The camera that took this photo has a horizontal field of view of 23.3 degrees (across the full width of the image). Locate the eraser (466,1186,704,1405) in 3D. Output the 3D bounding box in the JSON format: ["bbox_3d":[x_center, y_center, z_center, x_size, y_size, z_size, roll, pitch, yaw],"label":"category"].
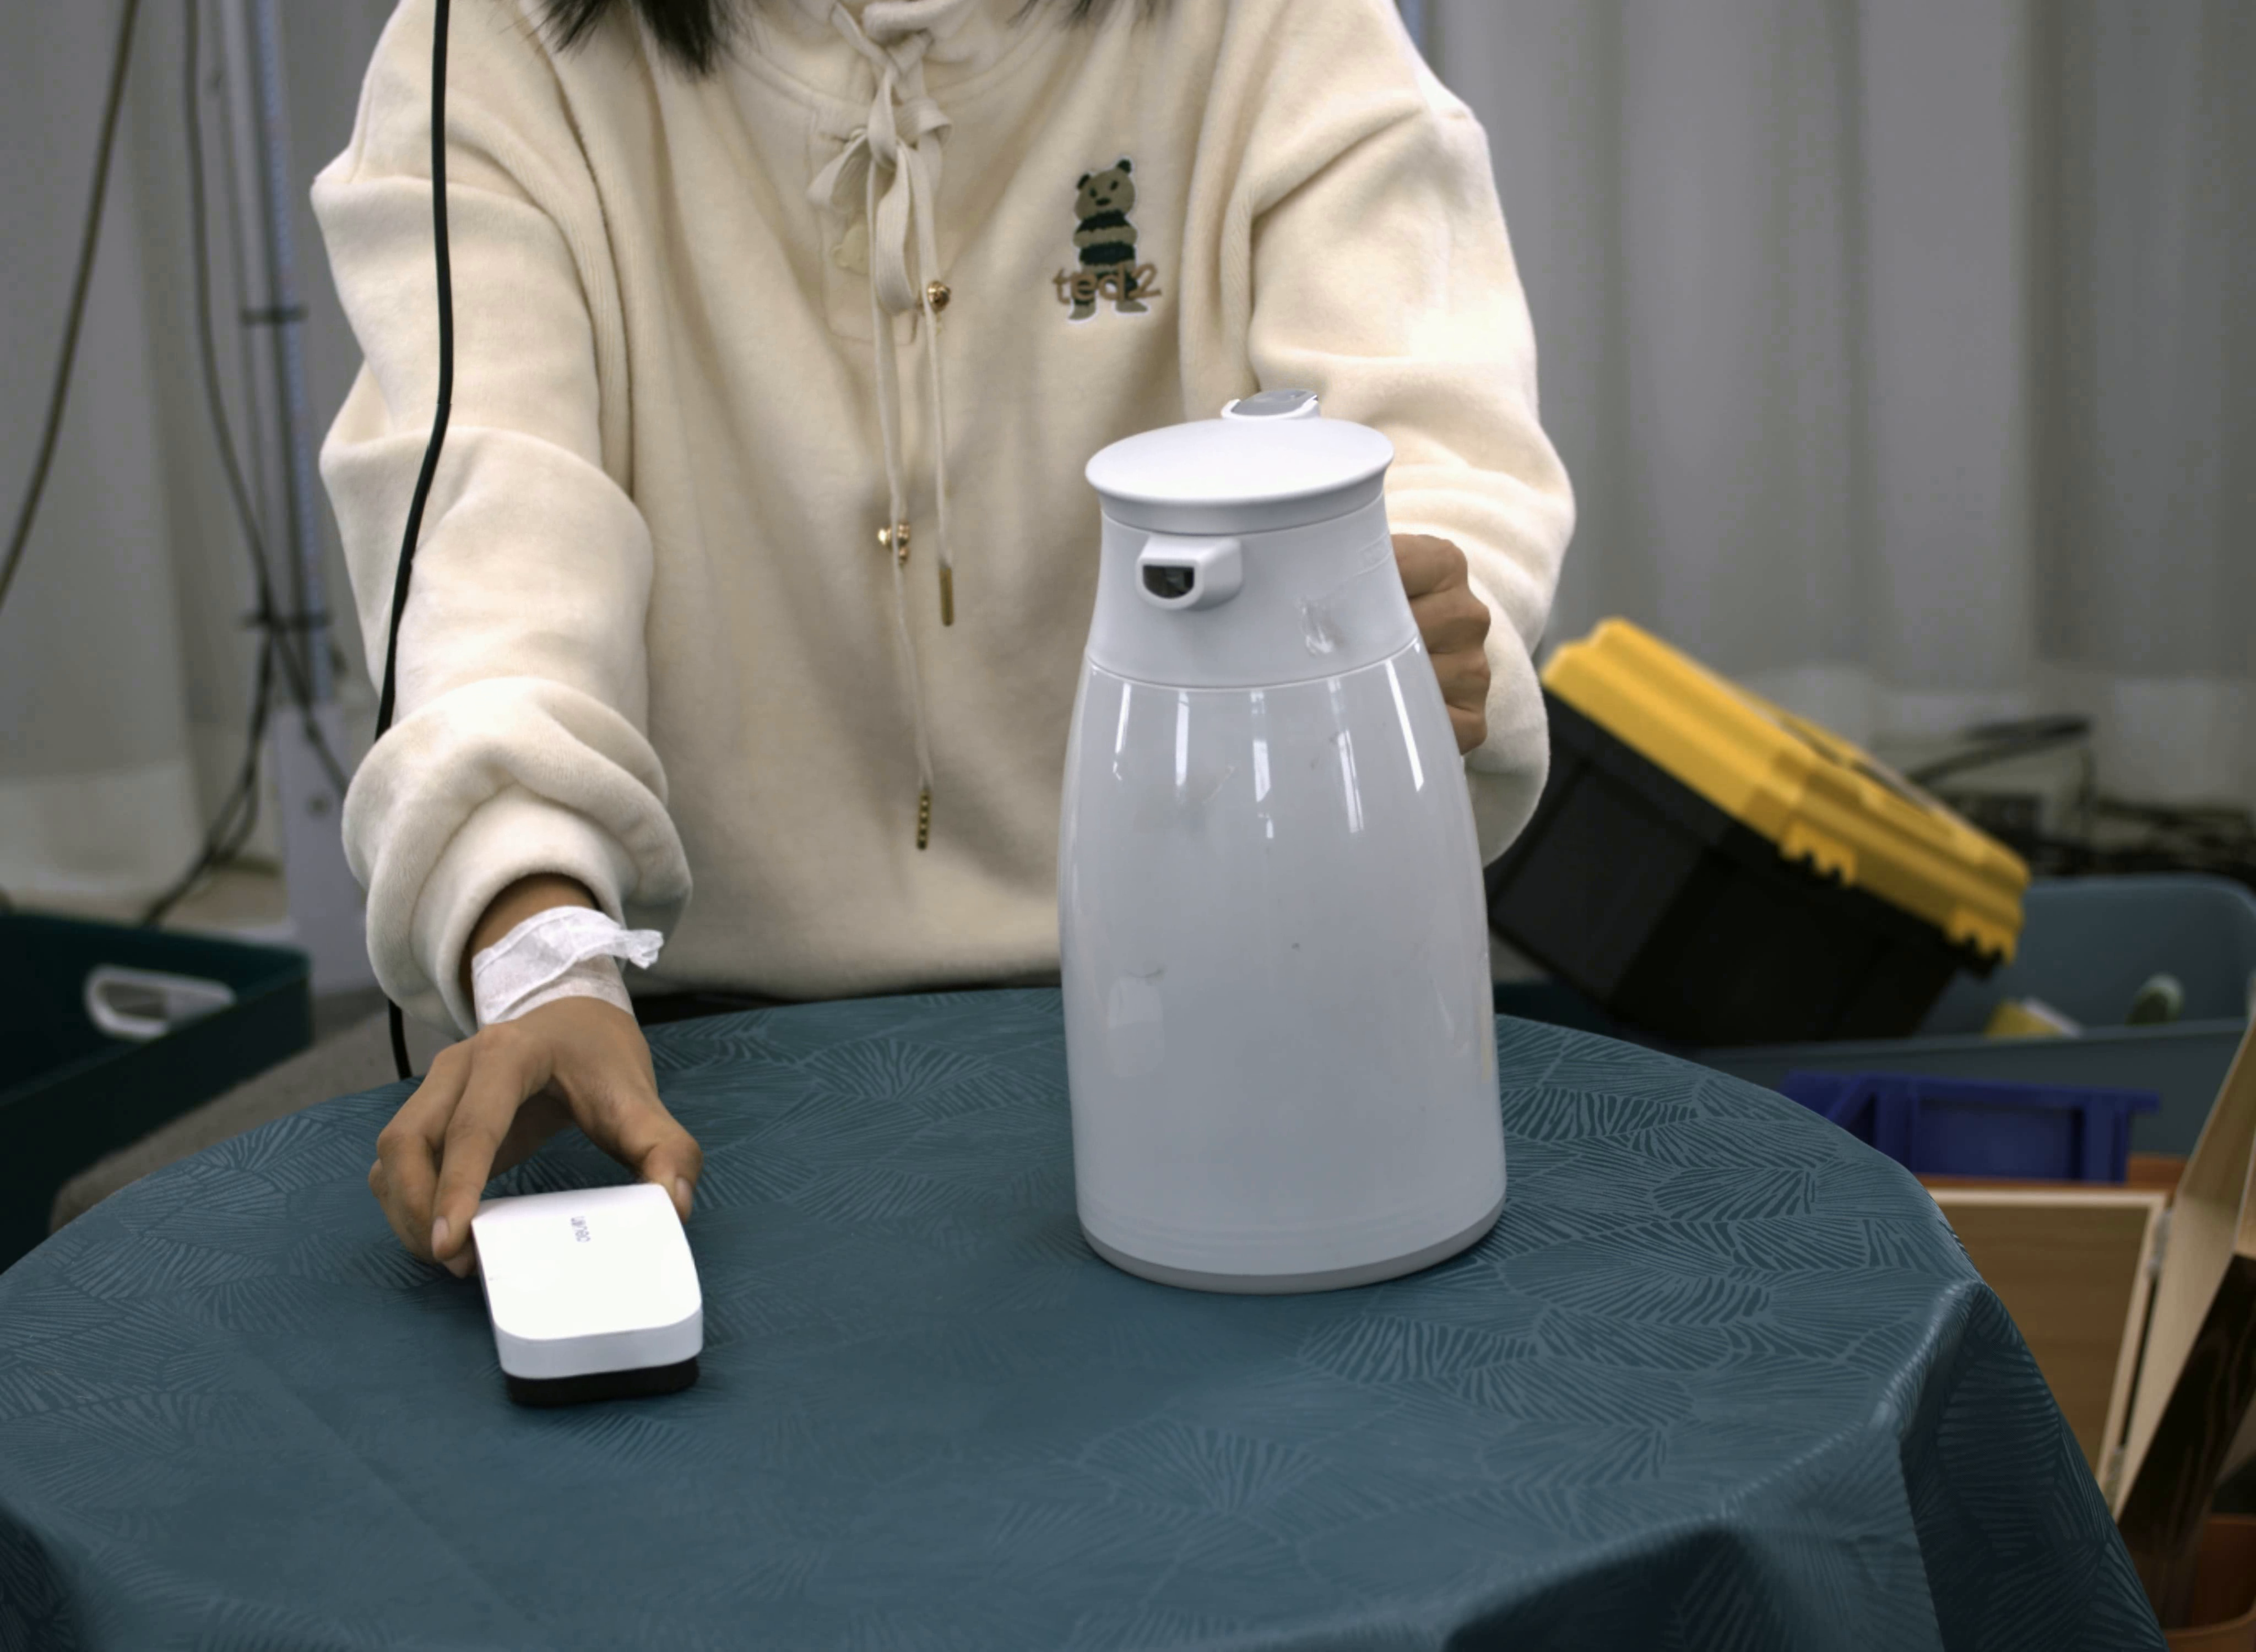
[{"bbox_3d":[-0.160,0.134,1.612,0.063,0.034,0.132,-3,15,-10],"label":"eraser"}]

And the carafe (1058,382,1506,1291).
[{"bbox_3d":[0.047,-0.006,1.657,0.132,0.247,0.168,2,18,21],"label":"carafe"}]
